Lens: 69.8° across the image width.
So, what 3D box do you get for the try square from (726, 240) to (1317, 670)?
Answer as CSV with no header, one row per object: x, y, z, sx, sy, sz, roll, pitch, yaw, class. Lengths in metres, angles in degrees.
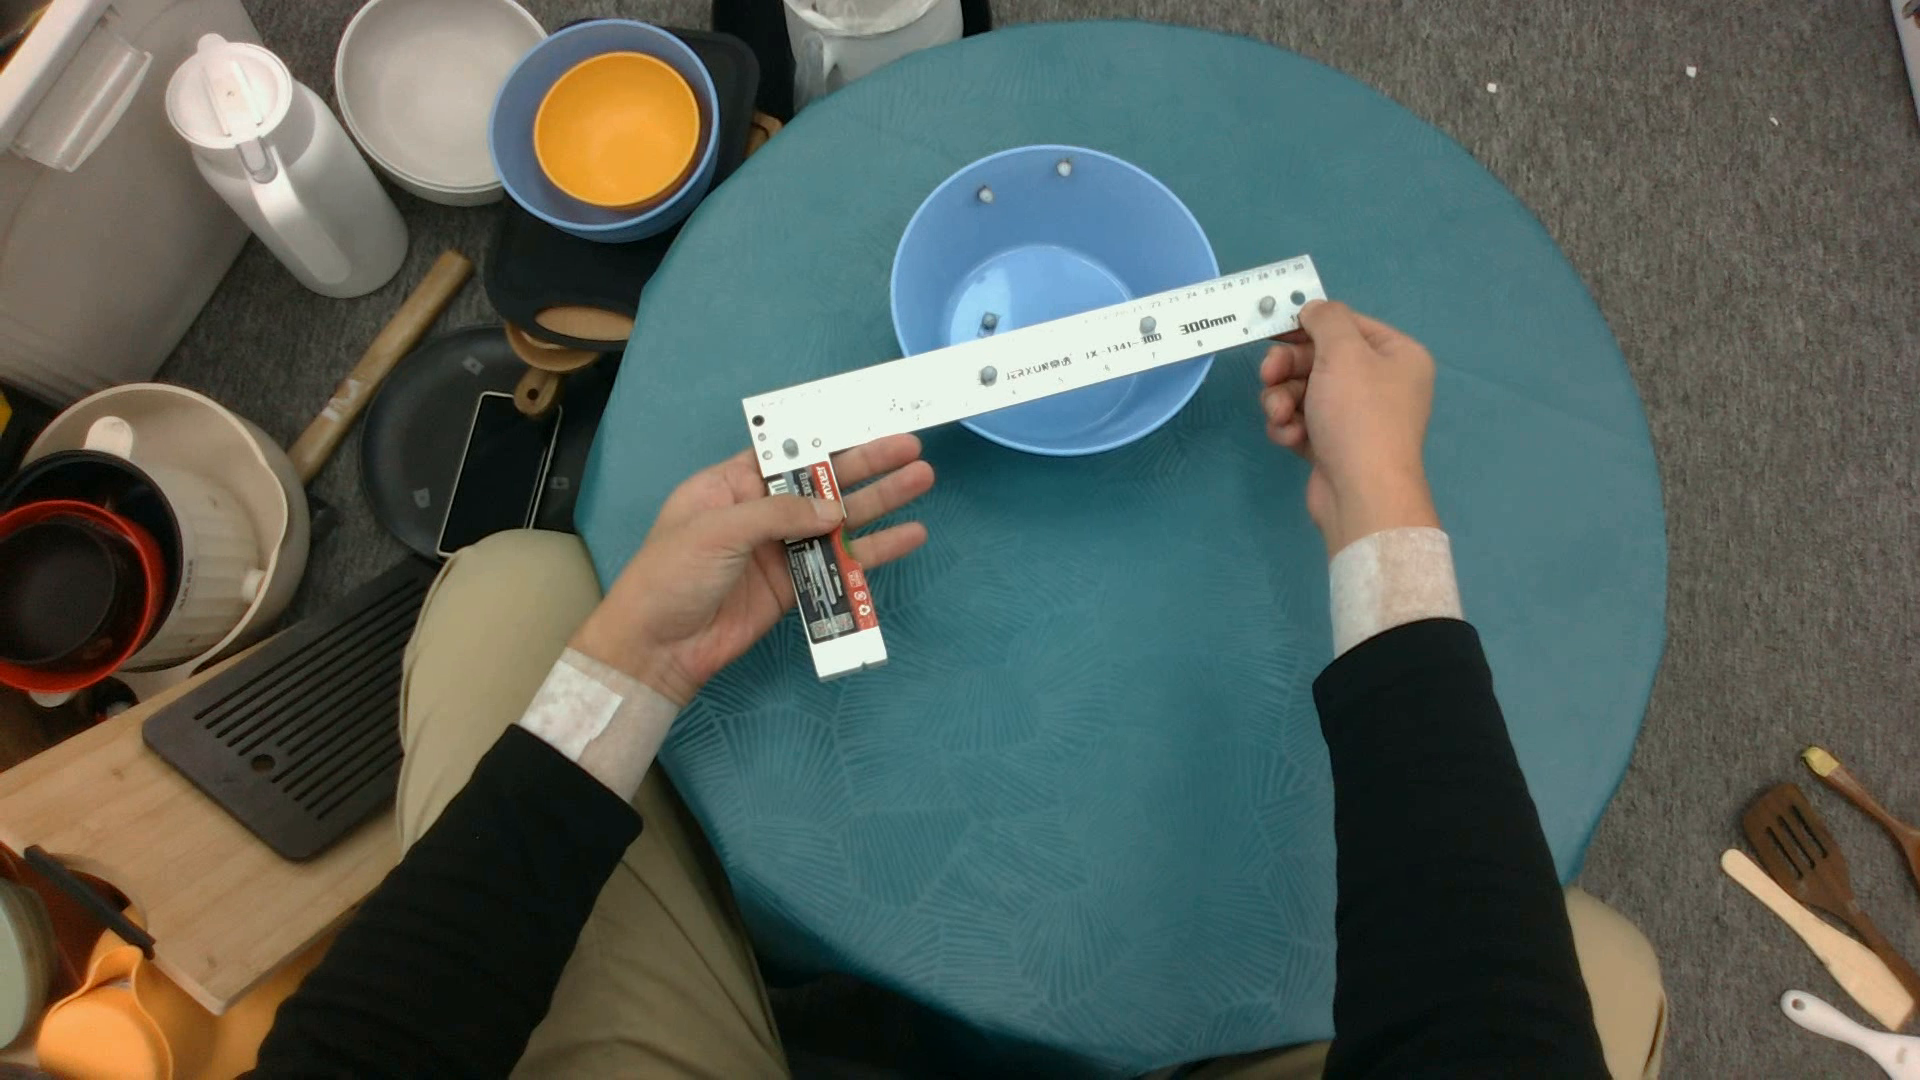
0.050,-0.049,0.693,0.313,0.016,0.152,-15,76,-9,try square

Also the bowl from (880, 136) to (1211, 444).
0.043,-0.126,0.750,0.176,0.070,0.176,1,75,-5,bowl
